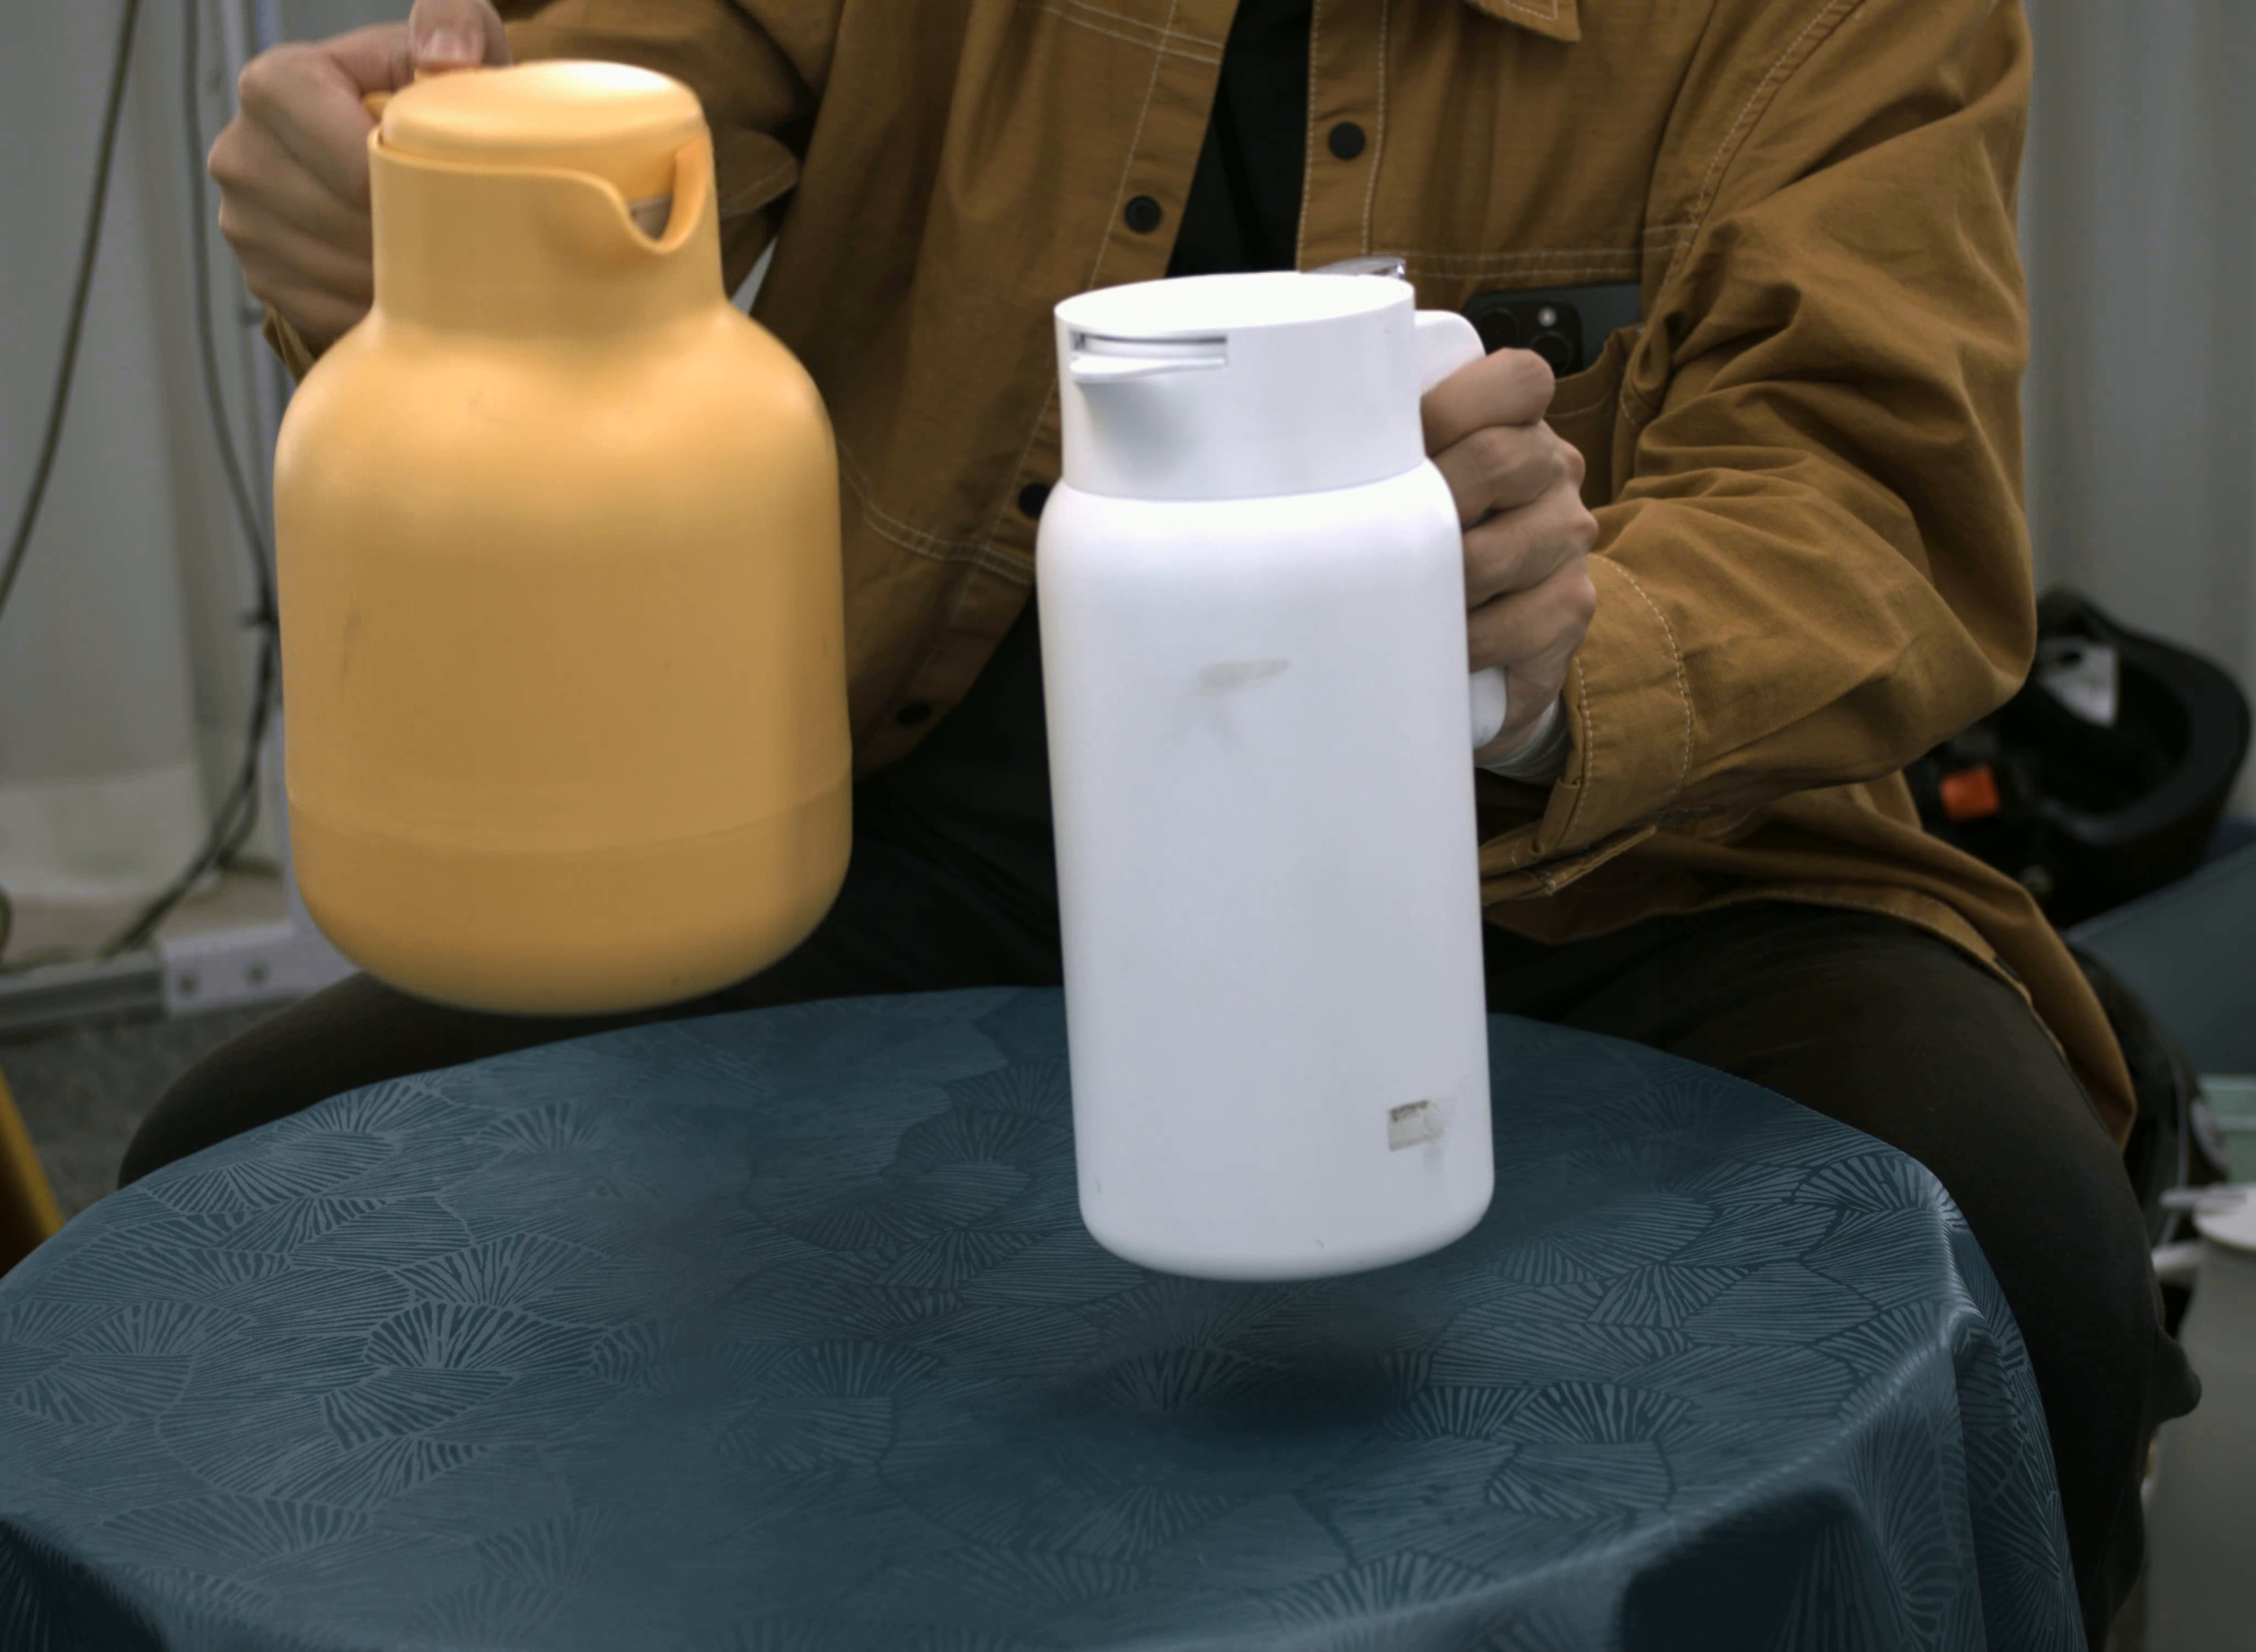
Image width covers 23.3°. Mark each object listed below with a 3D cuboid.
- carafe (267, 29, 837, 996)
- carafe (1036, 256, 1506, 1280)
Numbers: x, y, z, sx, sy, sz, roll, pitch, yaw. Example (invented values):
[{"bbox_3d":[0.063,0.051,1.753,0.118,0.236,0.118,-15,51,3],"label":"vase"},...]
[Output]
[{"bbox_3d":[-0.172,-0.098,1.578,0.162,0.259,0.204,-7,22,-30],"label":"carafe"},{"bbox_3d":[0.046,-0.021,1.523,0.124,0.268,0.172,3,14,37],"label":"carafe"}]
